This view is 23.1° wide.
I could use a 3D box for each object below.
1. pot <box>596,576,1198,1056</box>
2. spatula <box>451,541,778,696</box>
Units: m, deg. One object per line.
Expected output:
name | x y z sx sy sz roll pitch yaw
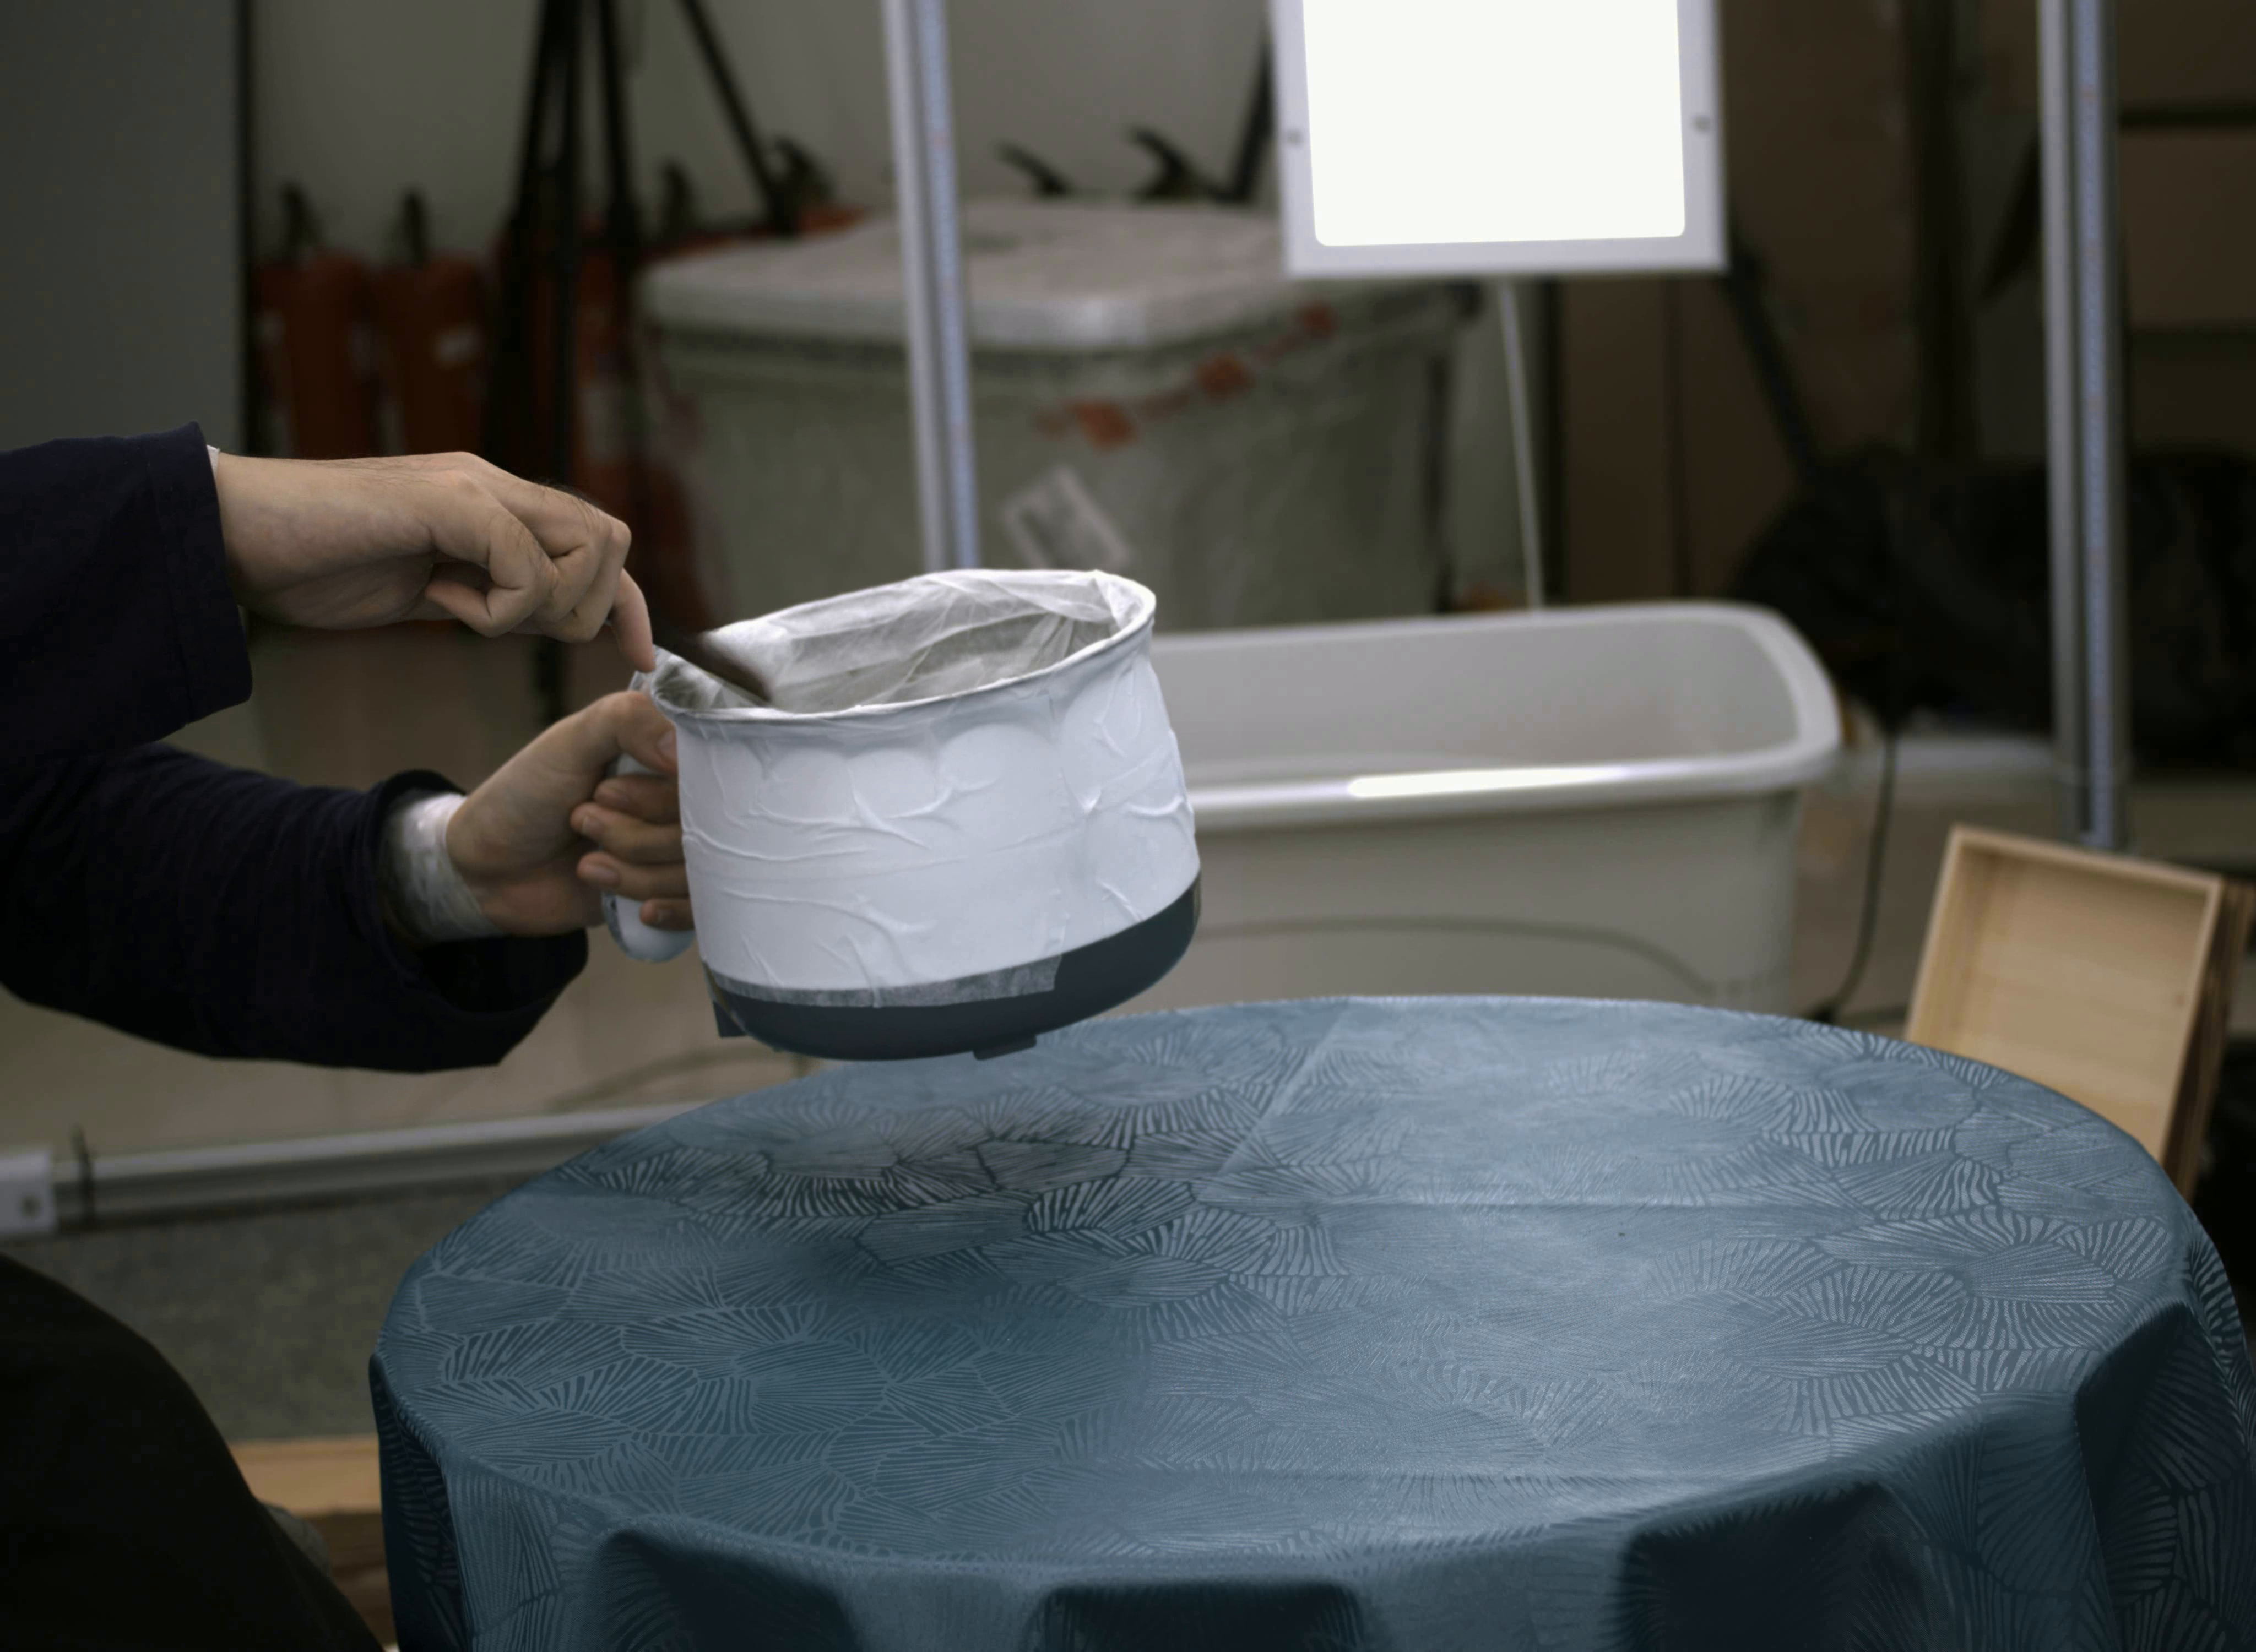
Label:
pot | -0.091 -0.004 1.923 0.238 0.137 0.174 1 17 32
spatula | -0.168 -0.065 1.823 0.073 0.009 0.212 27 0 27
